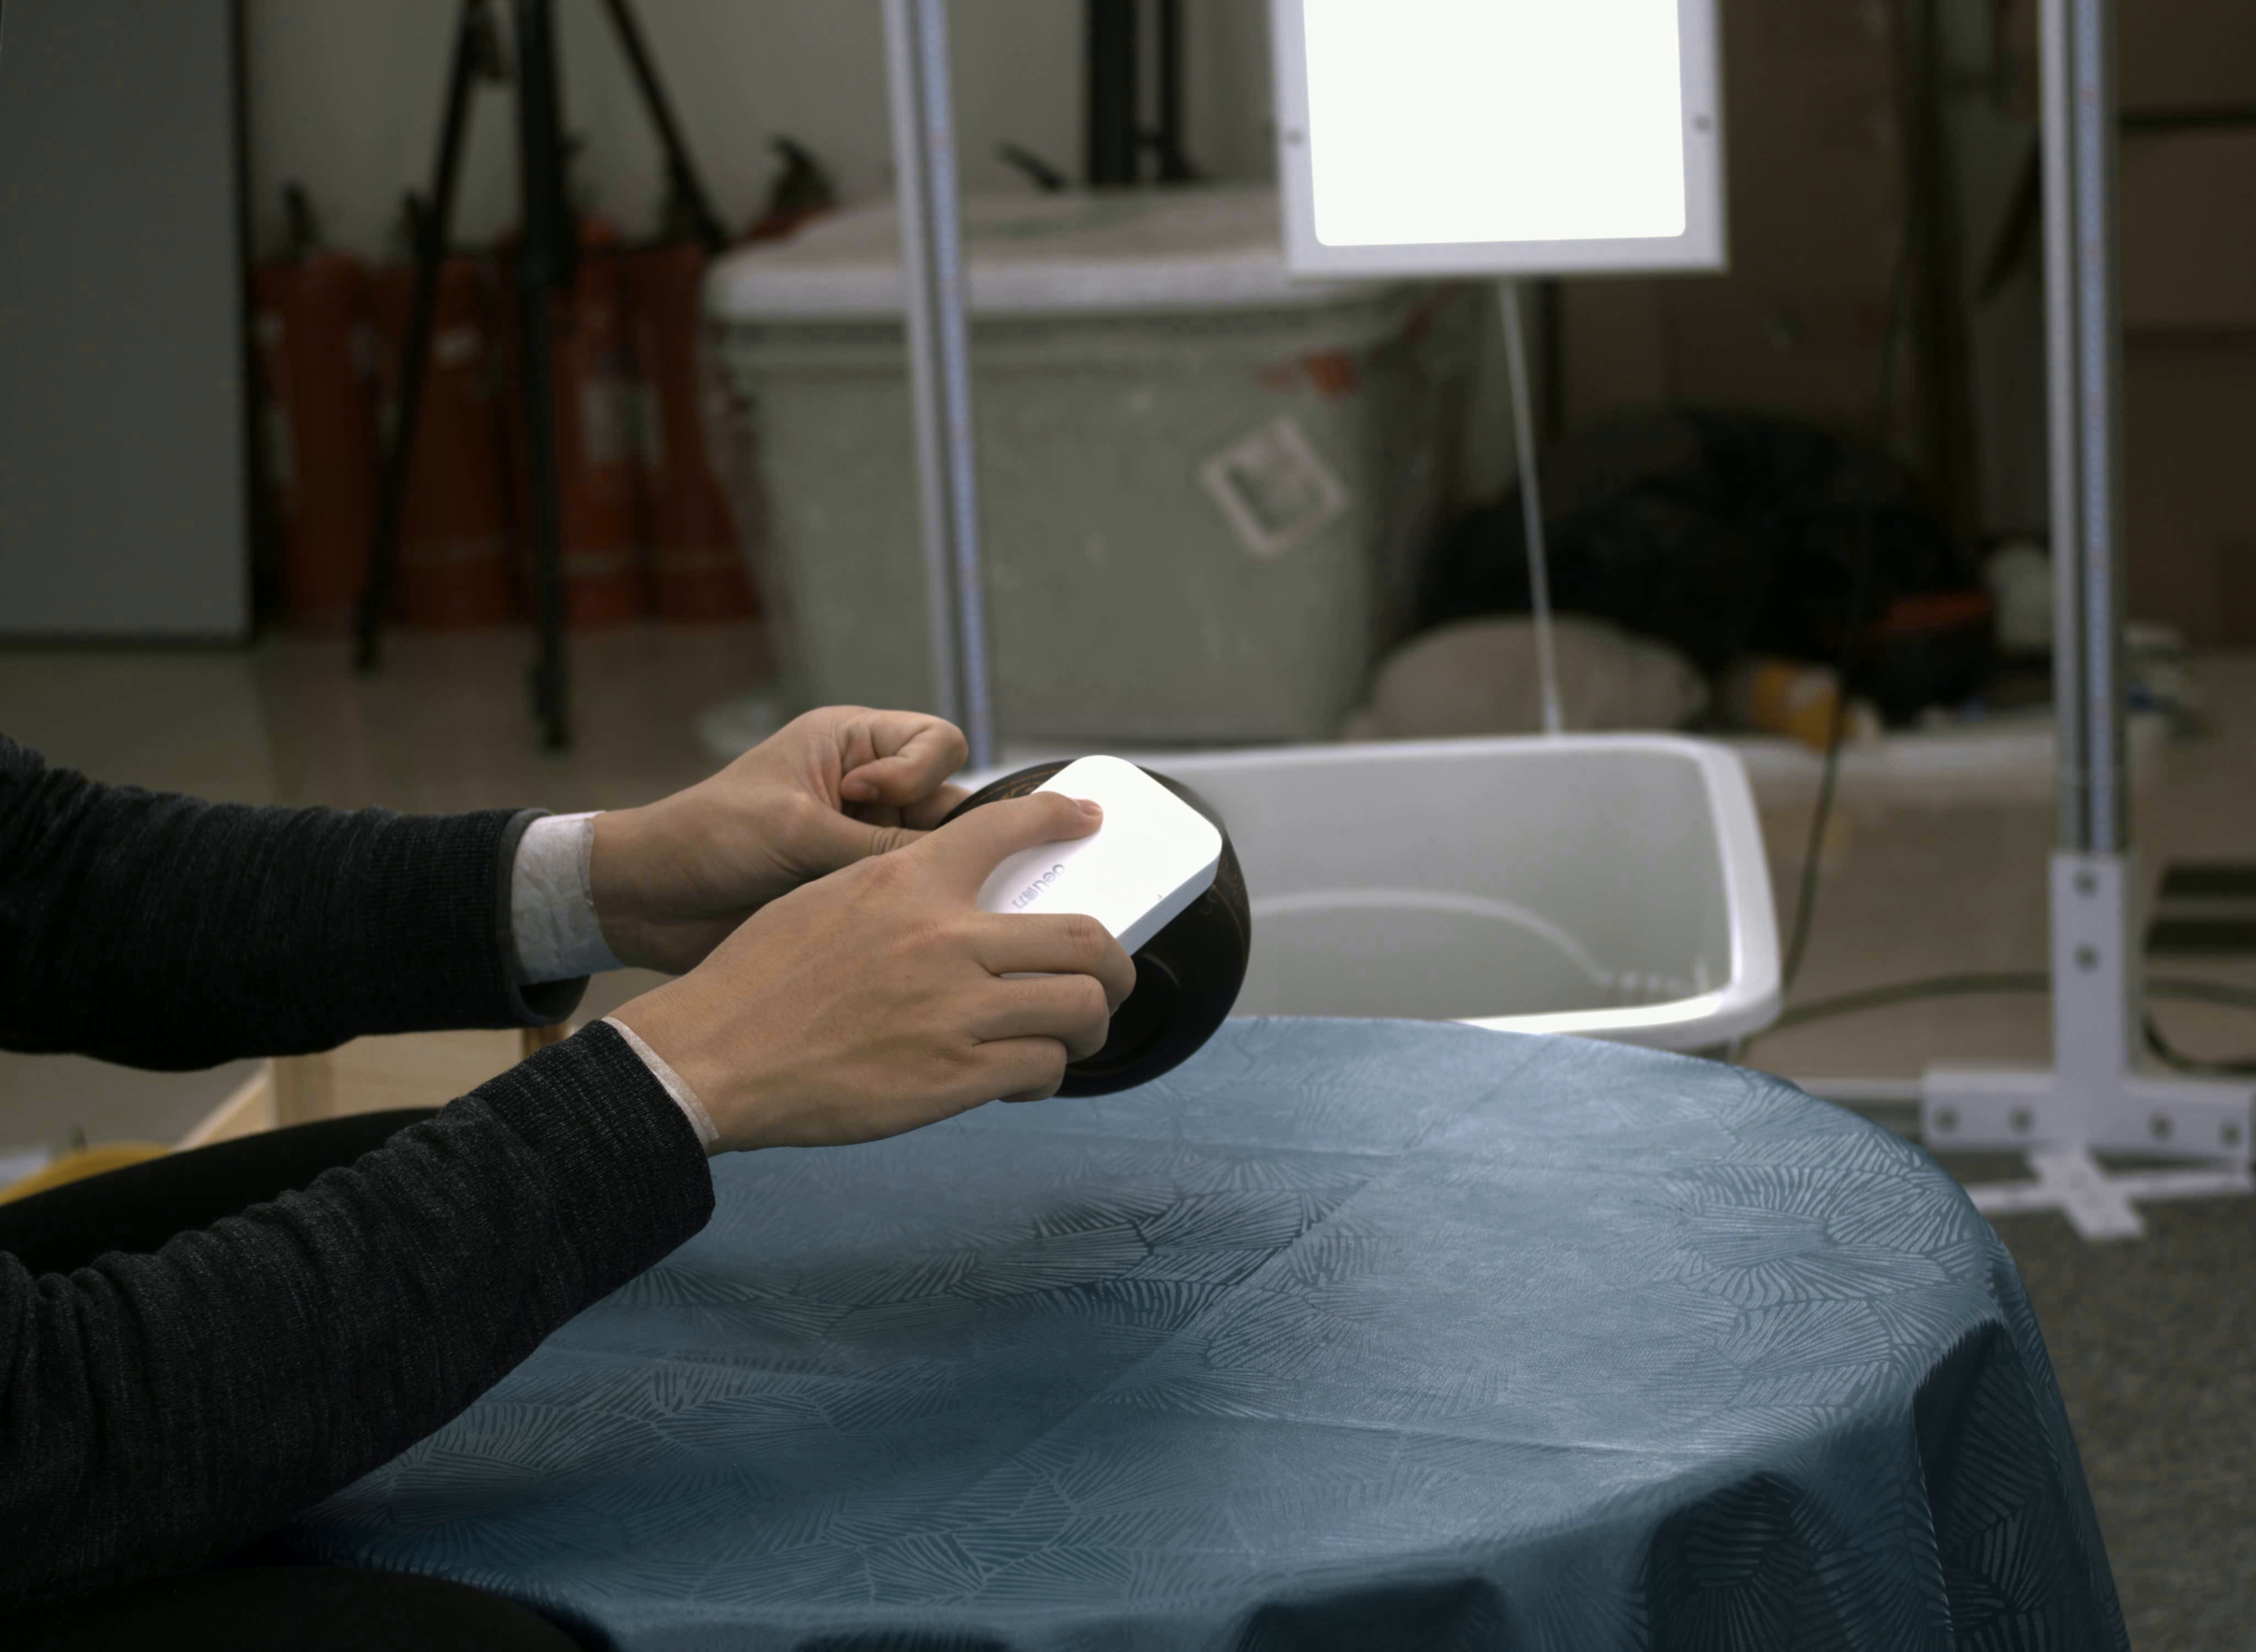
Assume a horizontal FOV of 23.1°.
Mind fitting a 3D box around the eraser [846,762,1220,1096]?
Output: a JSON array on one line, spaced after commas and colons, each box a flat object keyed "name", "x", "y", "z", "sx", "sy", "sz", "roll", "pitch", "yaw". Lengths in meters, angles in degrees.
[{"name": "eraser", "x": -0.031, "y": 0.030, "z": 1.759, "sx": 0.064, "sy": 0.035, "sz": 0.129, "roll": 35, "pitch": 58, "yaw": 26}]

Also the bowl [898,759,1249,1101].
[{"name": "bowl", "x": -0.016, "y": 0.044, "z": 1.839, "sx": 0.117, "sy": 0.118, "sz": 0.070, "roll": -5, "pitch": 38, "yaw": -5}]
